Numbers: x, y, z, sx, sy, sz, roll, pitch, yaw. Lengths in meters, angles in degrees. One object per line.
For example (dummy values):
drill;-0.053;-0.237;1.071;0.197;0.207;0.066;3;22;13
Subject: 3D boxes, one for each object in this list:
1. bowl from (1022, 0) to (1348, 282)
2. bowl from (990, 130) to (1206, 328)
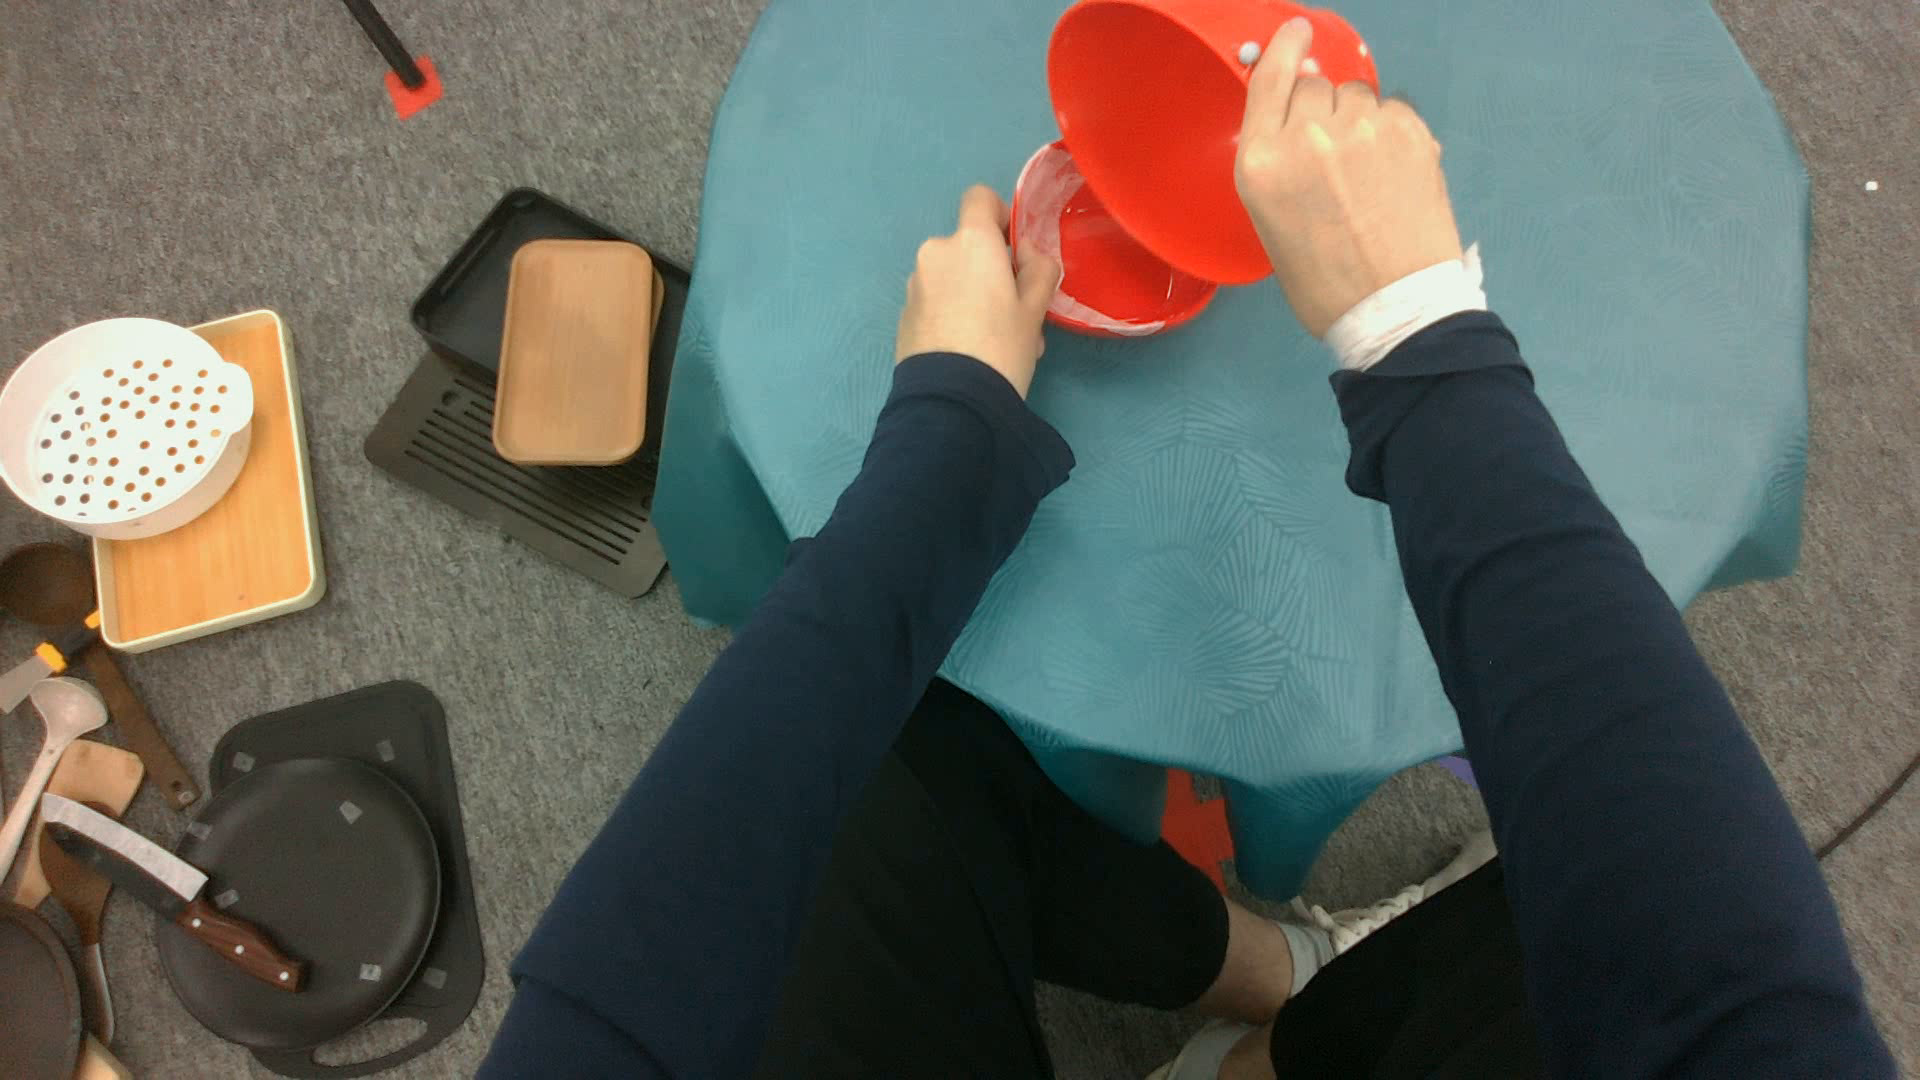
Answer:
bowl;0.115;-0.202;0.644;0.105;0.147;0.148;-32;77;-22
bowl;0.069;-0.156;0.720;0.119;0.051;0.119;1;76;-2
